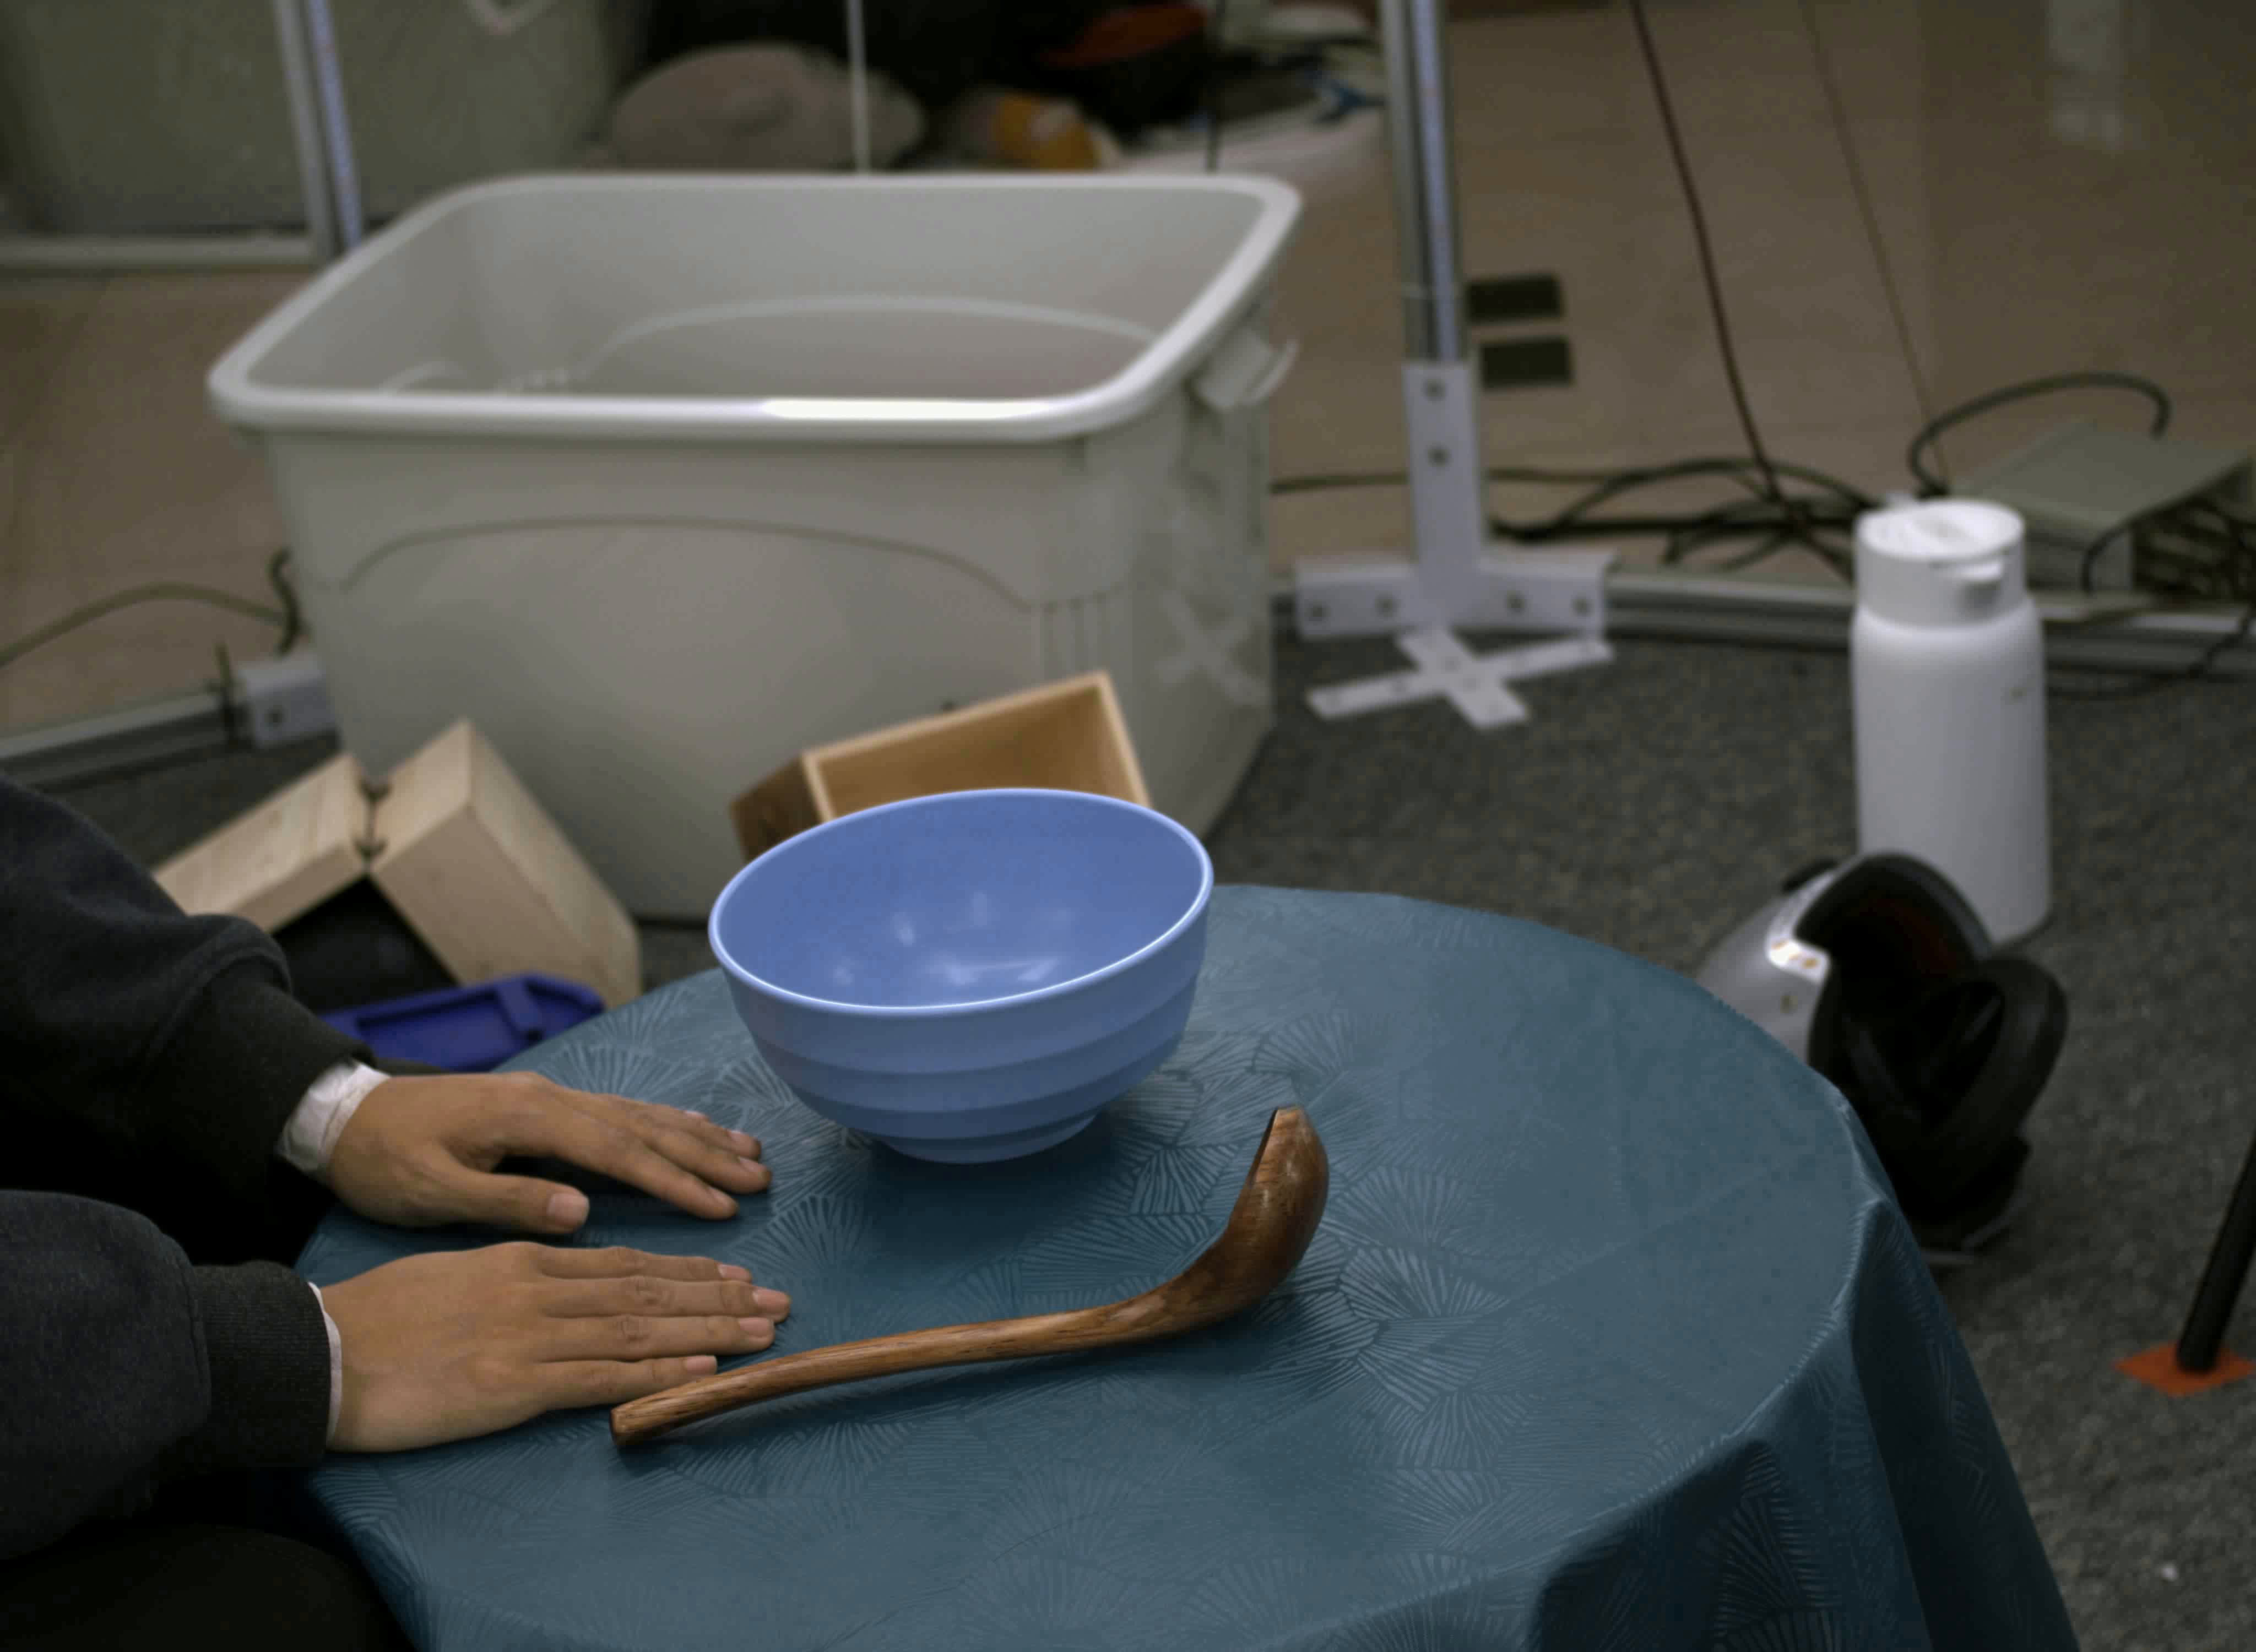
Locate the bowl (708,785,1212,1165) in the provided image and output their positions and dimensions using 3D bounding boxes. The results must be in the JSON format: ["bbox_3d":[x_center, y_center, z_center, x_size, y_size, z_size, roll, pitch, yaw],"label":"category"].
[{"bbox_3d":[-0.060,0.069,2.200,0.196,0.097,0.193,-6,26,3],"label":"bowl"}]

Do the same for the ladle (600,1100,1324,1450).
[{"bbox_3d":[-0.060,0.159,2.033,0.273,0.076,0.082,-11,-14,-6],"label":"ladle"}]
